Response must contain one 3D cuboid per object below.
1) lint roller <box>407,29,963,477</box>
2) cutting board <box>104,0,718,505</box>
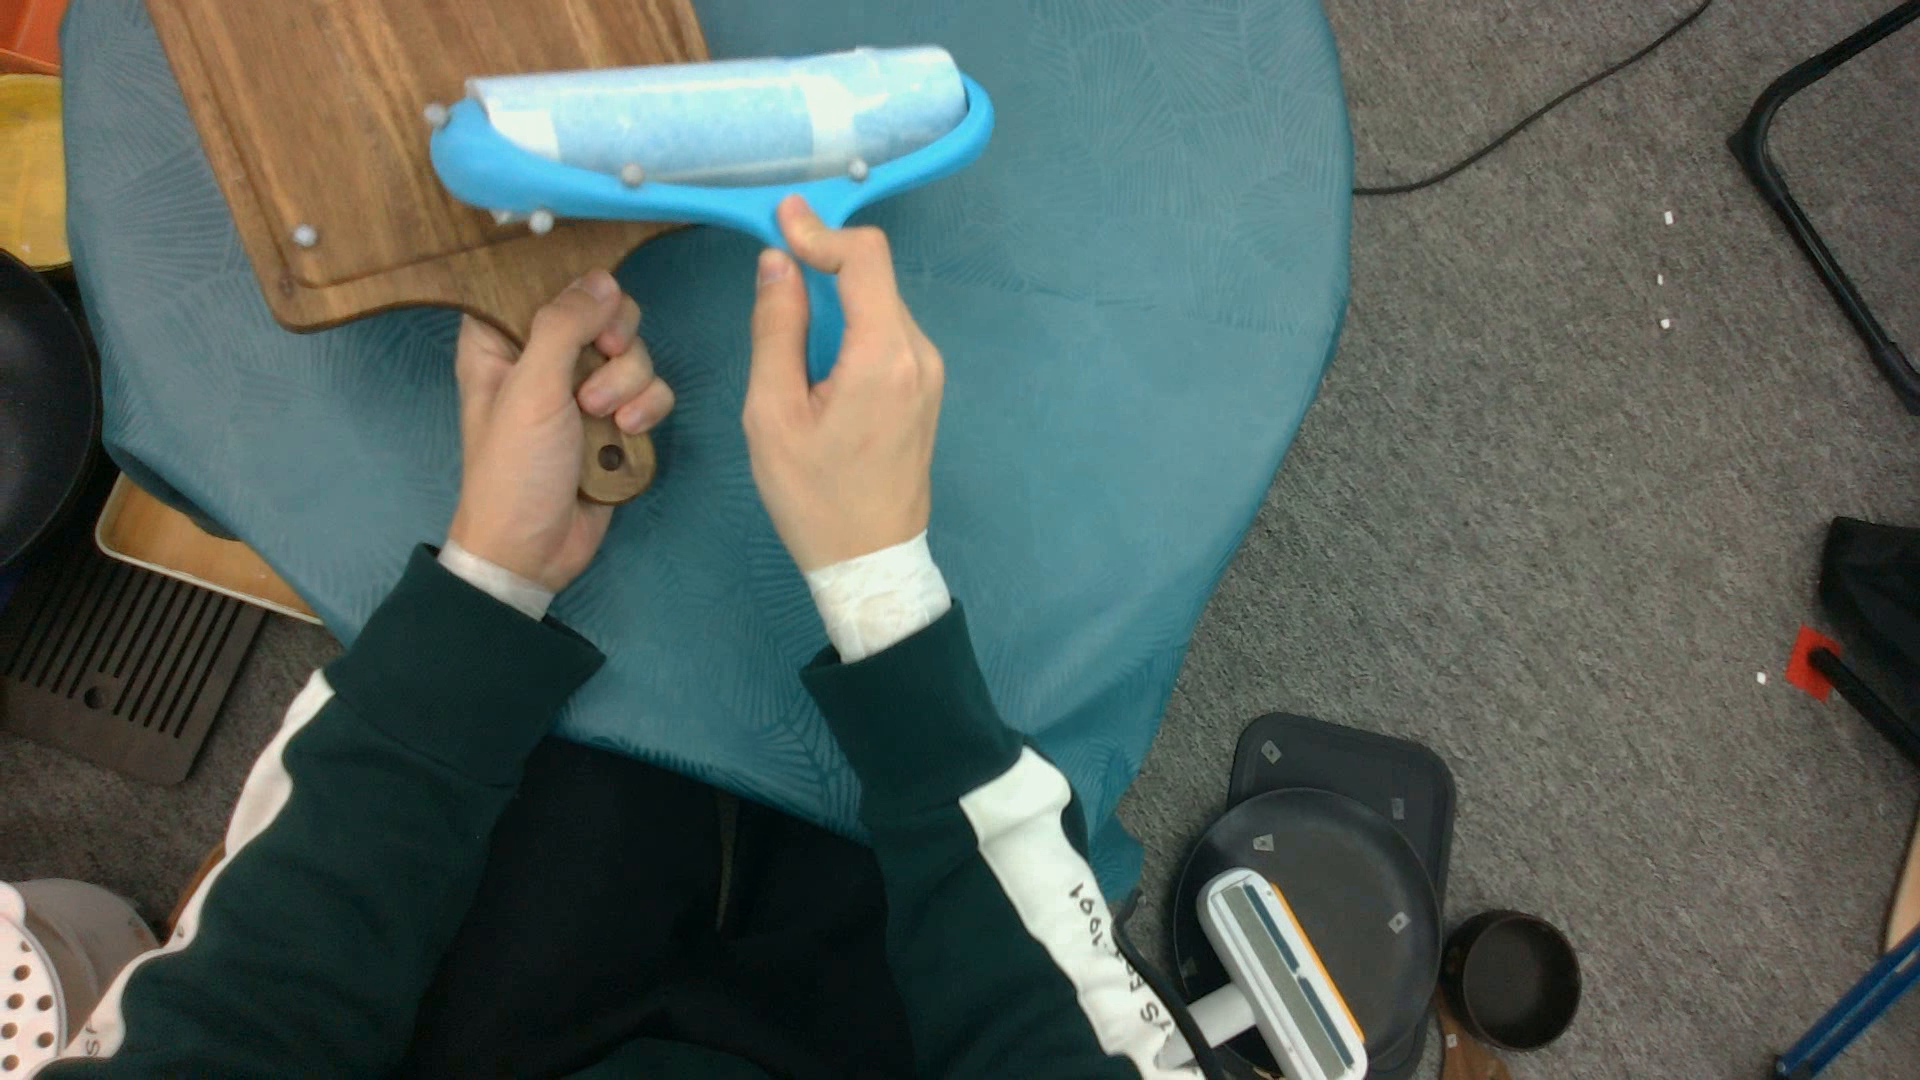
[{"bbox_3d":[-0.078,-0.117,0.544,0.230,0.067,0.180,-20,78,-30],"label":"lint roller"},{"bbox_3d":[-0.205,-0.177,0.547,0.201,0.023,0.351,-25,101,-22],"label":"cutting board"}]
